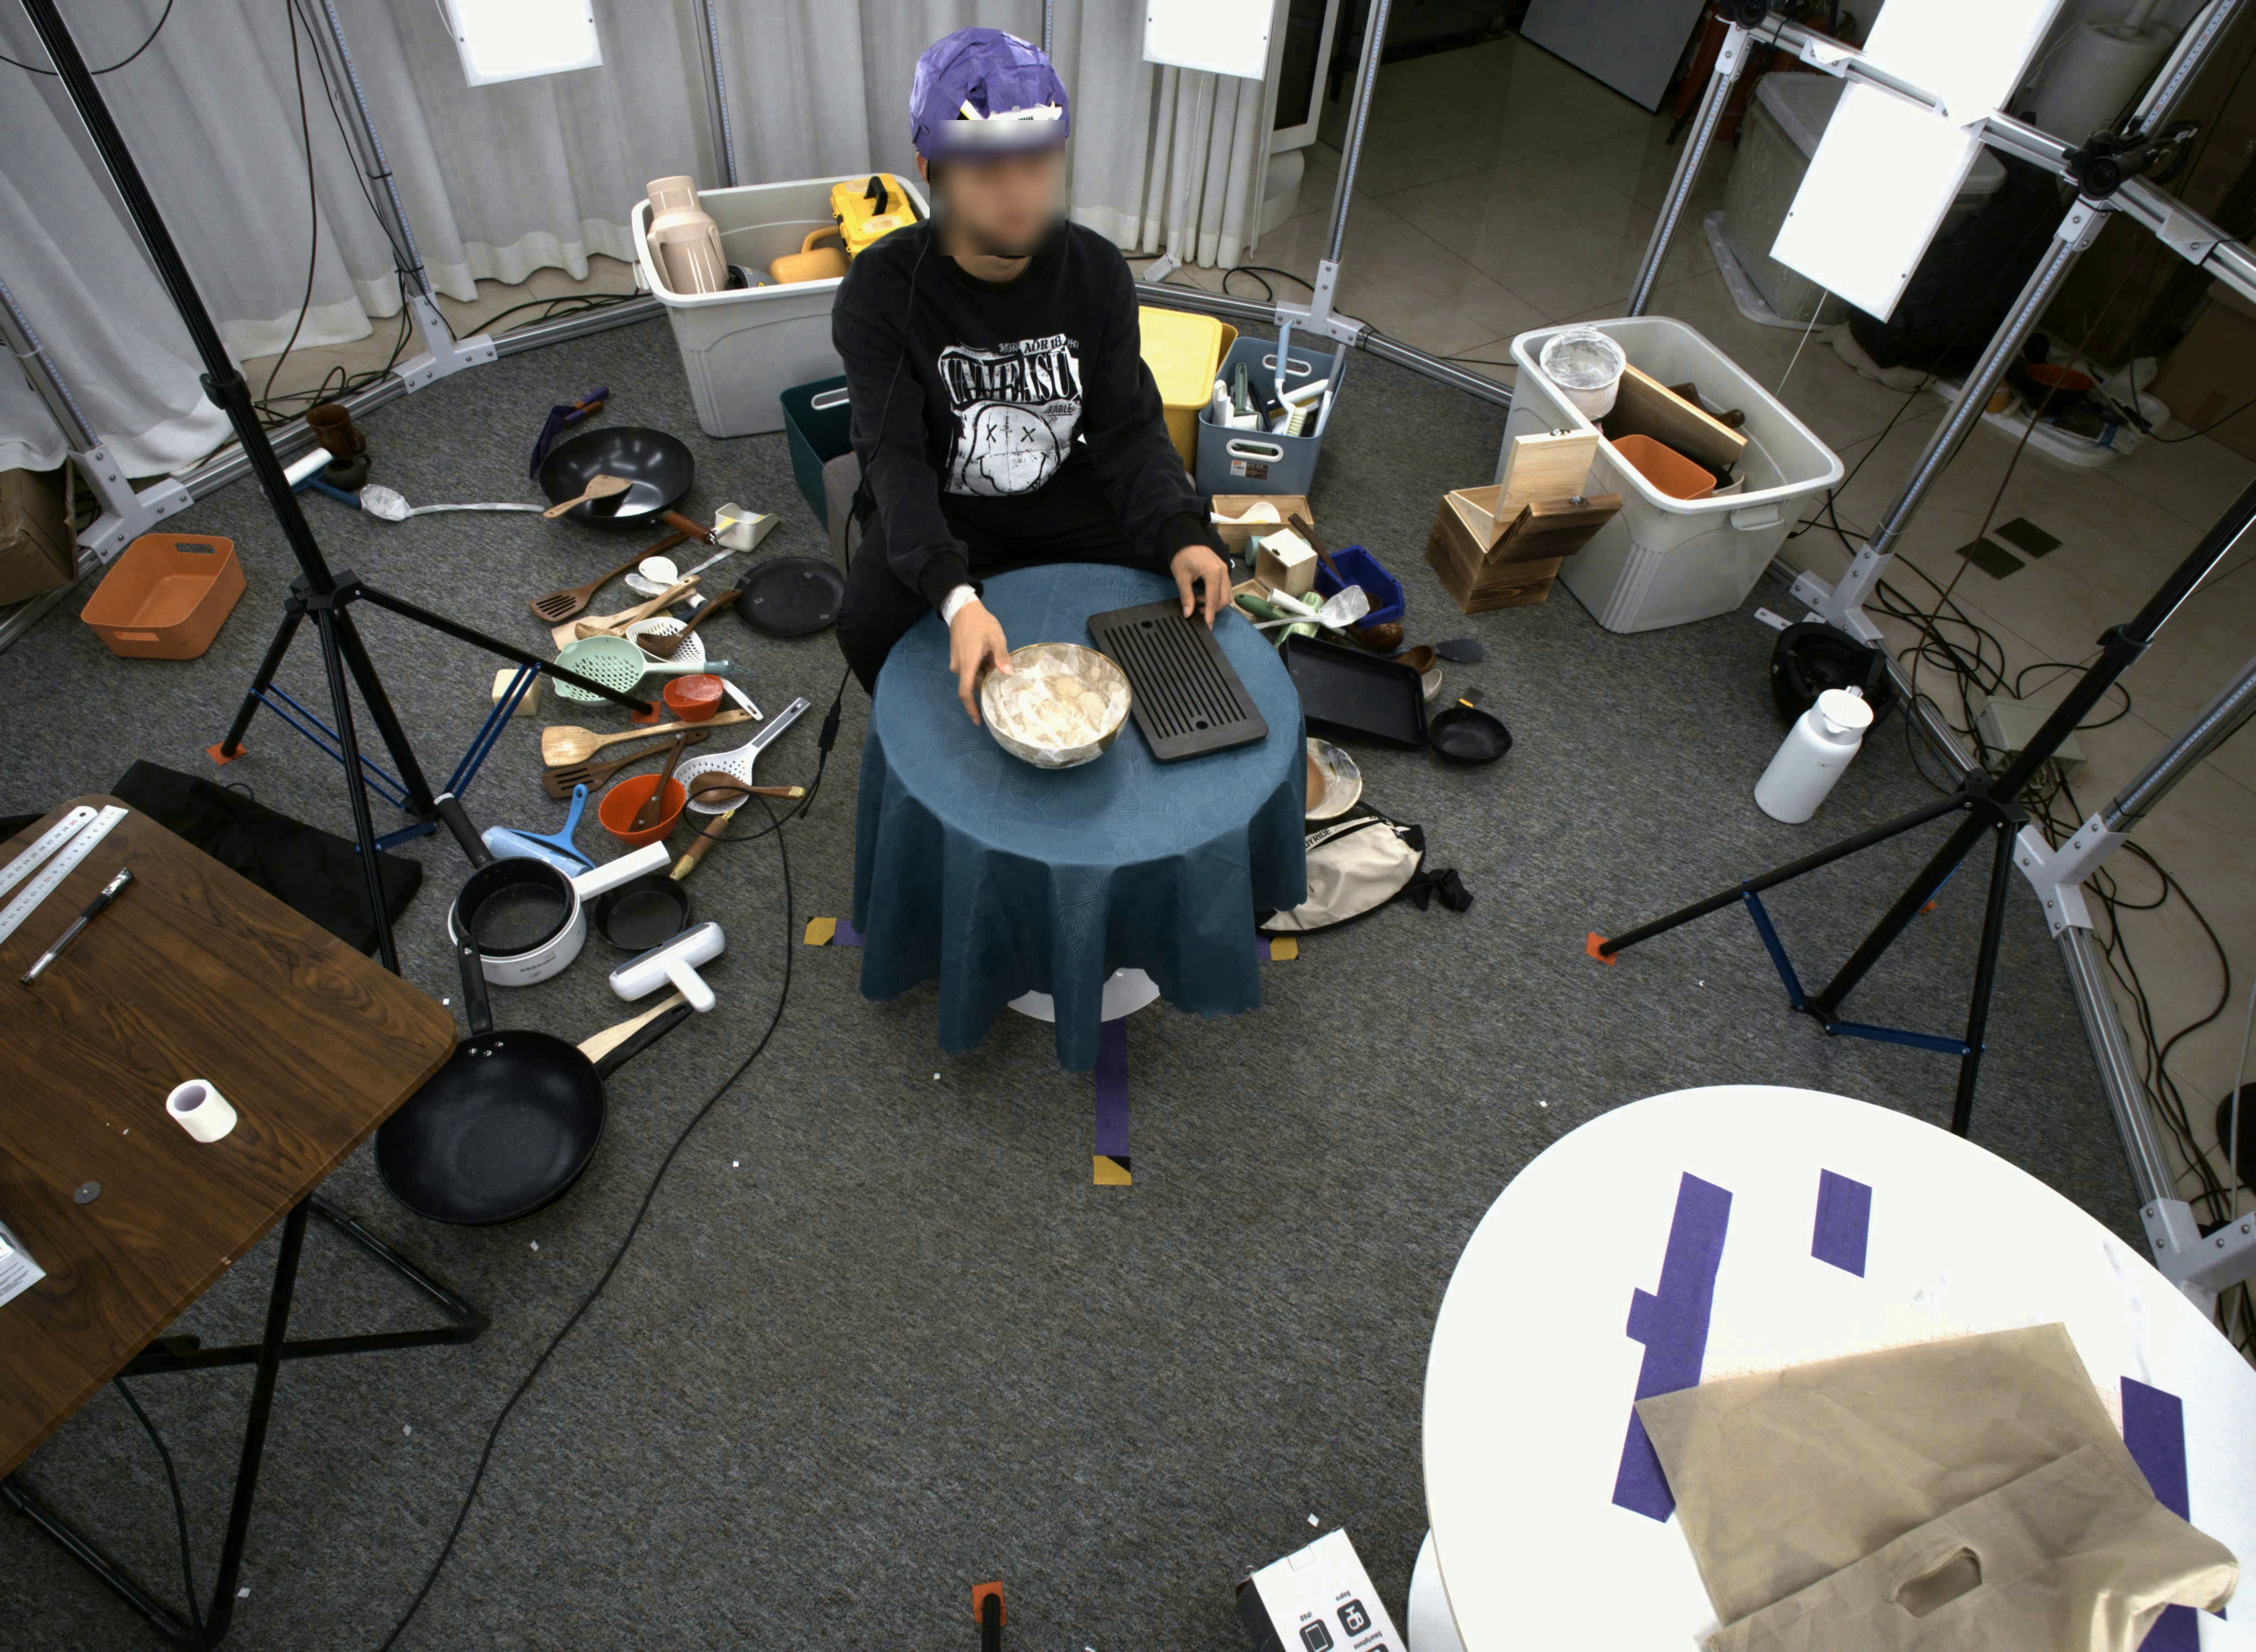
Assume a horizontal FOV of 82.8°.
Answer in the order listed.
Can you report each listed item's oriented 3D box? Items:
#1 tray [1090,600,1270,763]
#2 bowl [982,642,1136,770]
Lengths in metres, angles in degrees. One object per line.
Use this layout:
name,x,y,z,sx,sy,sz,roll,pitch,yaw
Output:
tray,0.071,-0.214,1.864,0.170,0.018,0.313,-13,51,-15
bowl,-0.093,-0.150,1.747,0.214,0.092,0.220,1,49,-1
